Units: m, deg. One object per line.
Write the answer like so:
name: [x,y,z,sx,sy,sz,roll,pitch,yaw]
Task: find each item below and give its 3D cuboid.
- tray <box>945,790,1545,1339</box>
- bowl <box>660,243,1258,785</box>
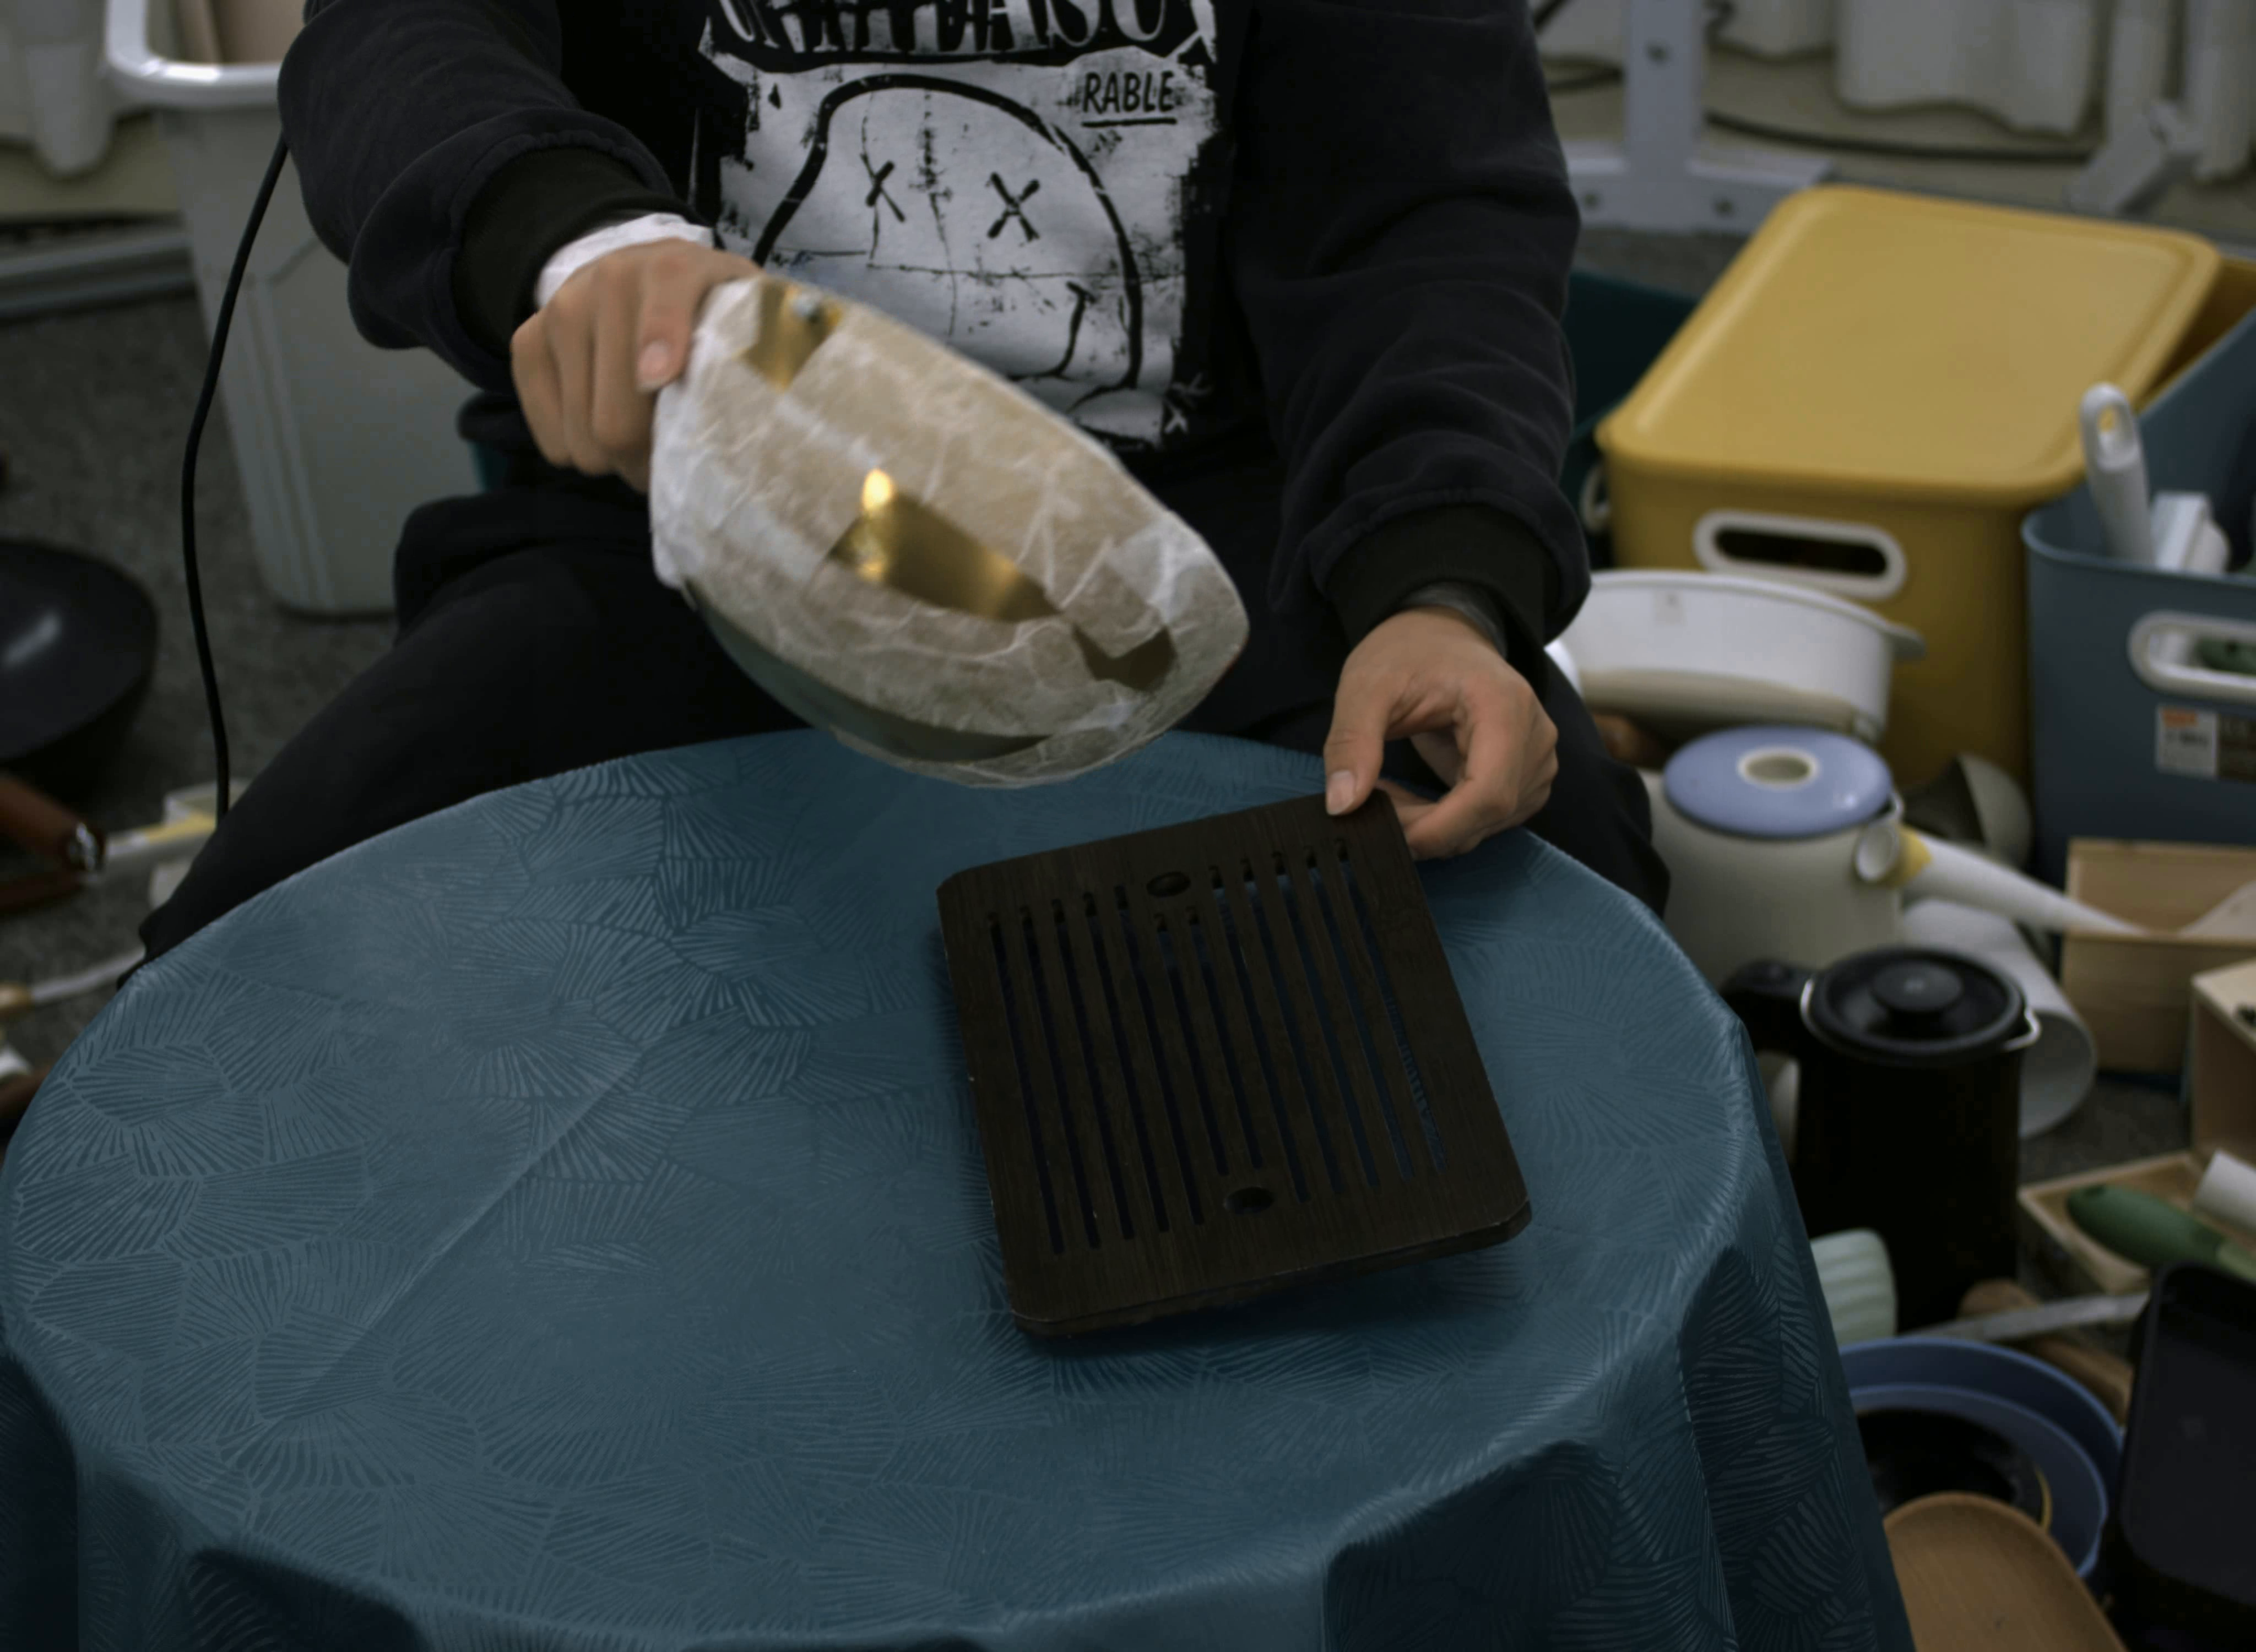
tray: [0.033,0.078,1.903,0.169,0.018,0.310,-12,27,-1]
bowl: [-0.068,-0.076,1.735,0.214,0.212,0.095,21,71,39]
